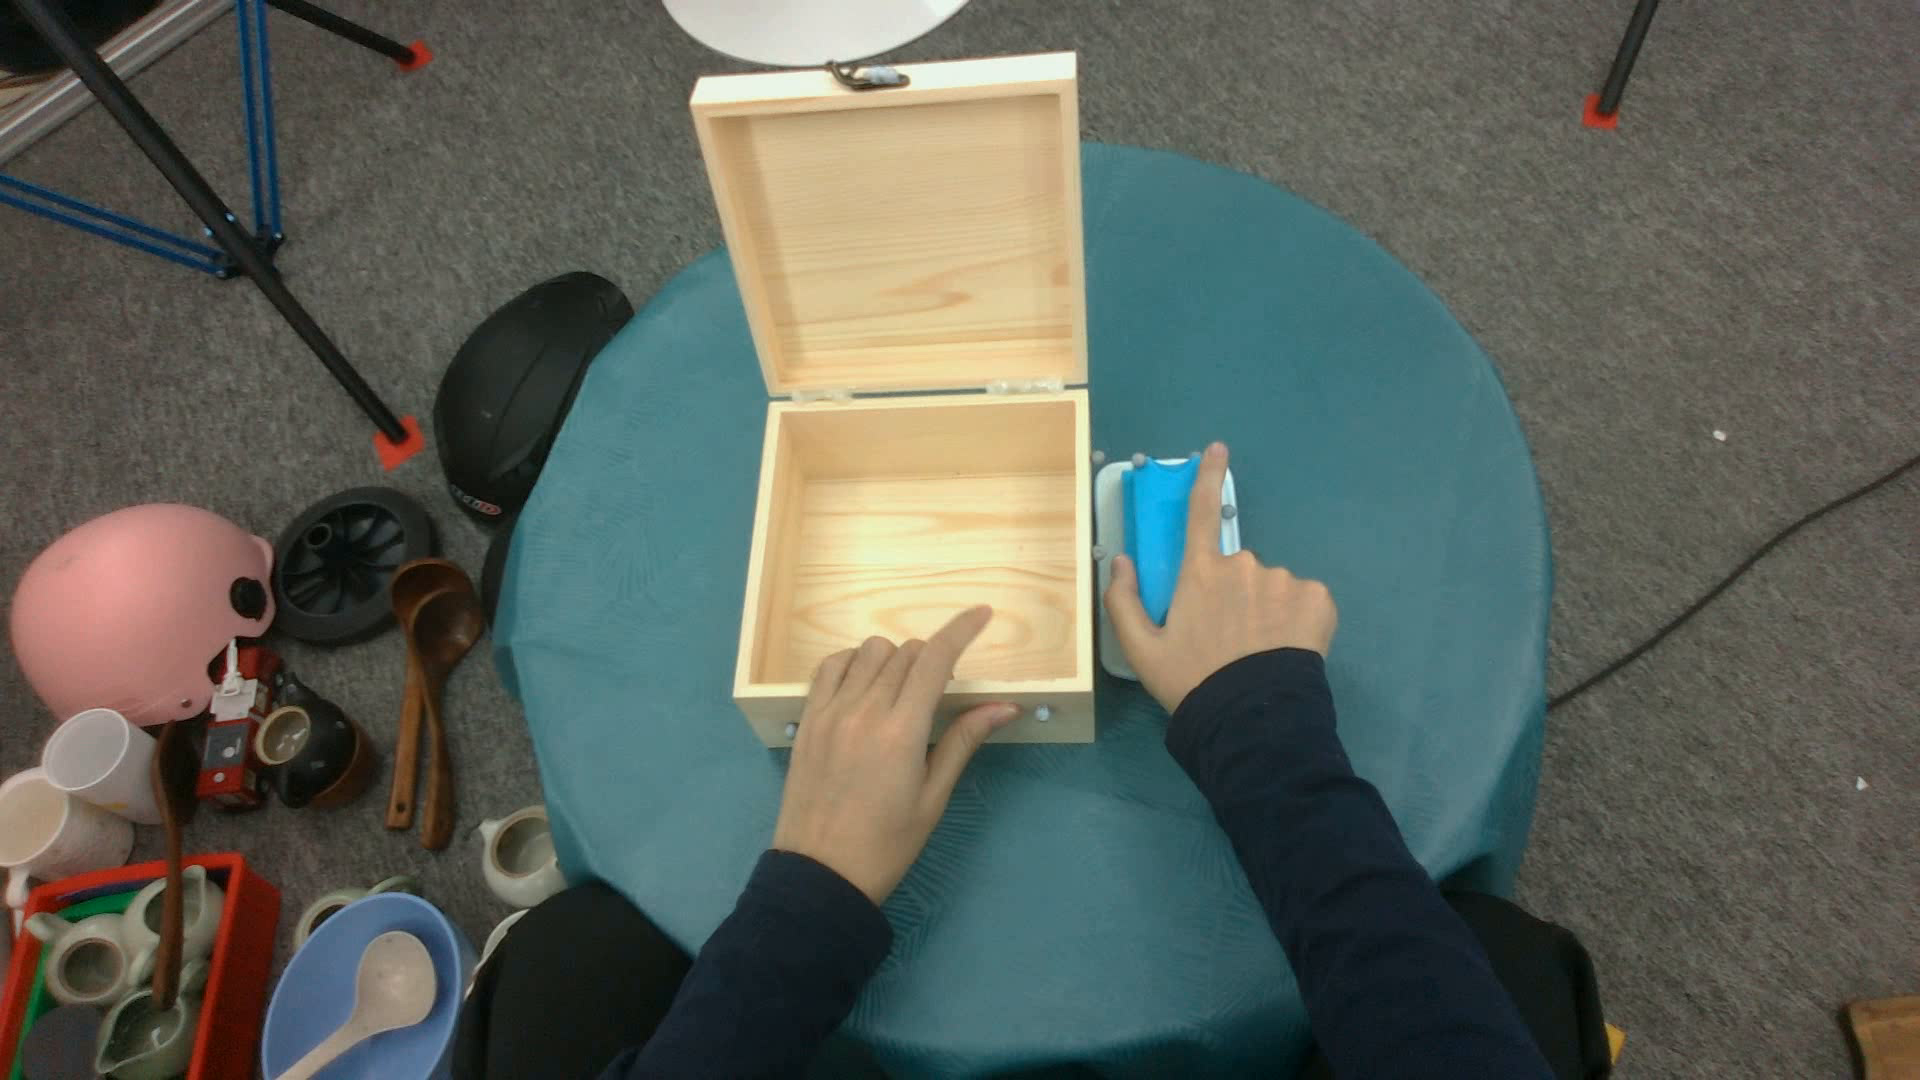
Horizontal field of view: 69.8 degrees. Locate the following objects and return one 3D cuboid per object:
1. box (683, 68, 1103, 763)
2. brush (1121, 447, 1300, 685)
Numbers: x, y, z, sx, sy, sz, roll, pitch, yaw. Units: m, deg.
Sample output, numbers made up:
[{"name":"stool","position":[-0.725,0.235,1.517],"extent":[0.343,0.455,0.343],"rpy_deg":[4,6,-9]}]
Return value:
[{"name":"box","position":[-0.028,-0.050,0.707],"extent":[0.181,0.252,0.266],"rpy_deg":[-4,60,6]},{"name":"brush","position":[0.134,0.007,0.769],"extent":[0.084,0.056,0.144],"rpy_deg":[-15,55,10]}]
